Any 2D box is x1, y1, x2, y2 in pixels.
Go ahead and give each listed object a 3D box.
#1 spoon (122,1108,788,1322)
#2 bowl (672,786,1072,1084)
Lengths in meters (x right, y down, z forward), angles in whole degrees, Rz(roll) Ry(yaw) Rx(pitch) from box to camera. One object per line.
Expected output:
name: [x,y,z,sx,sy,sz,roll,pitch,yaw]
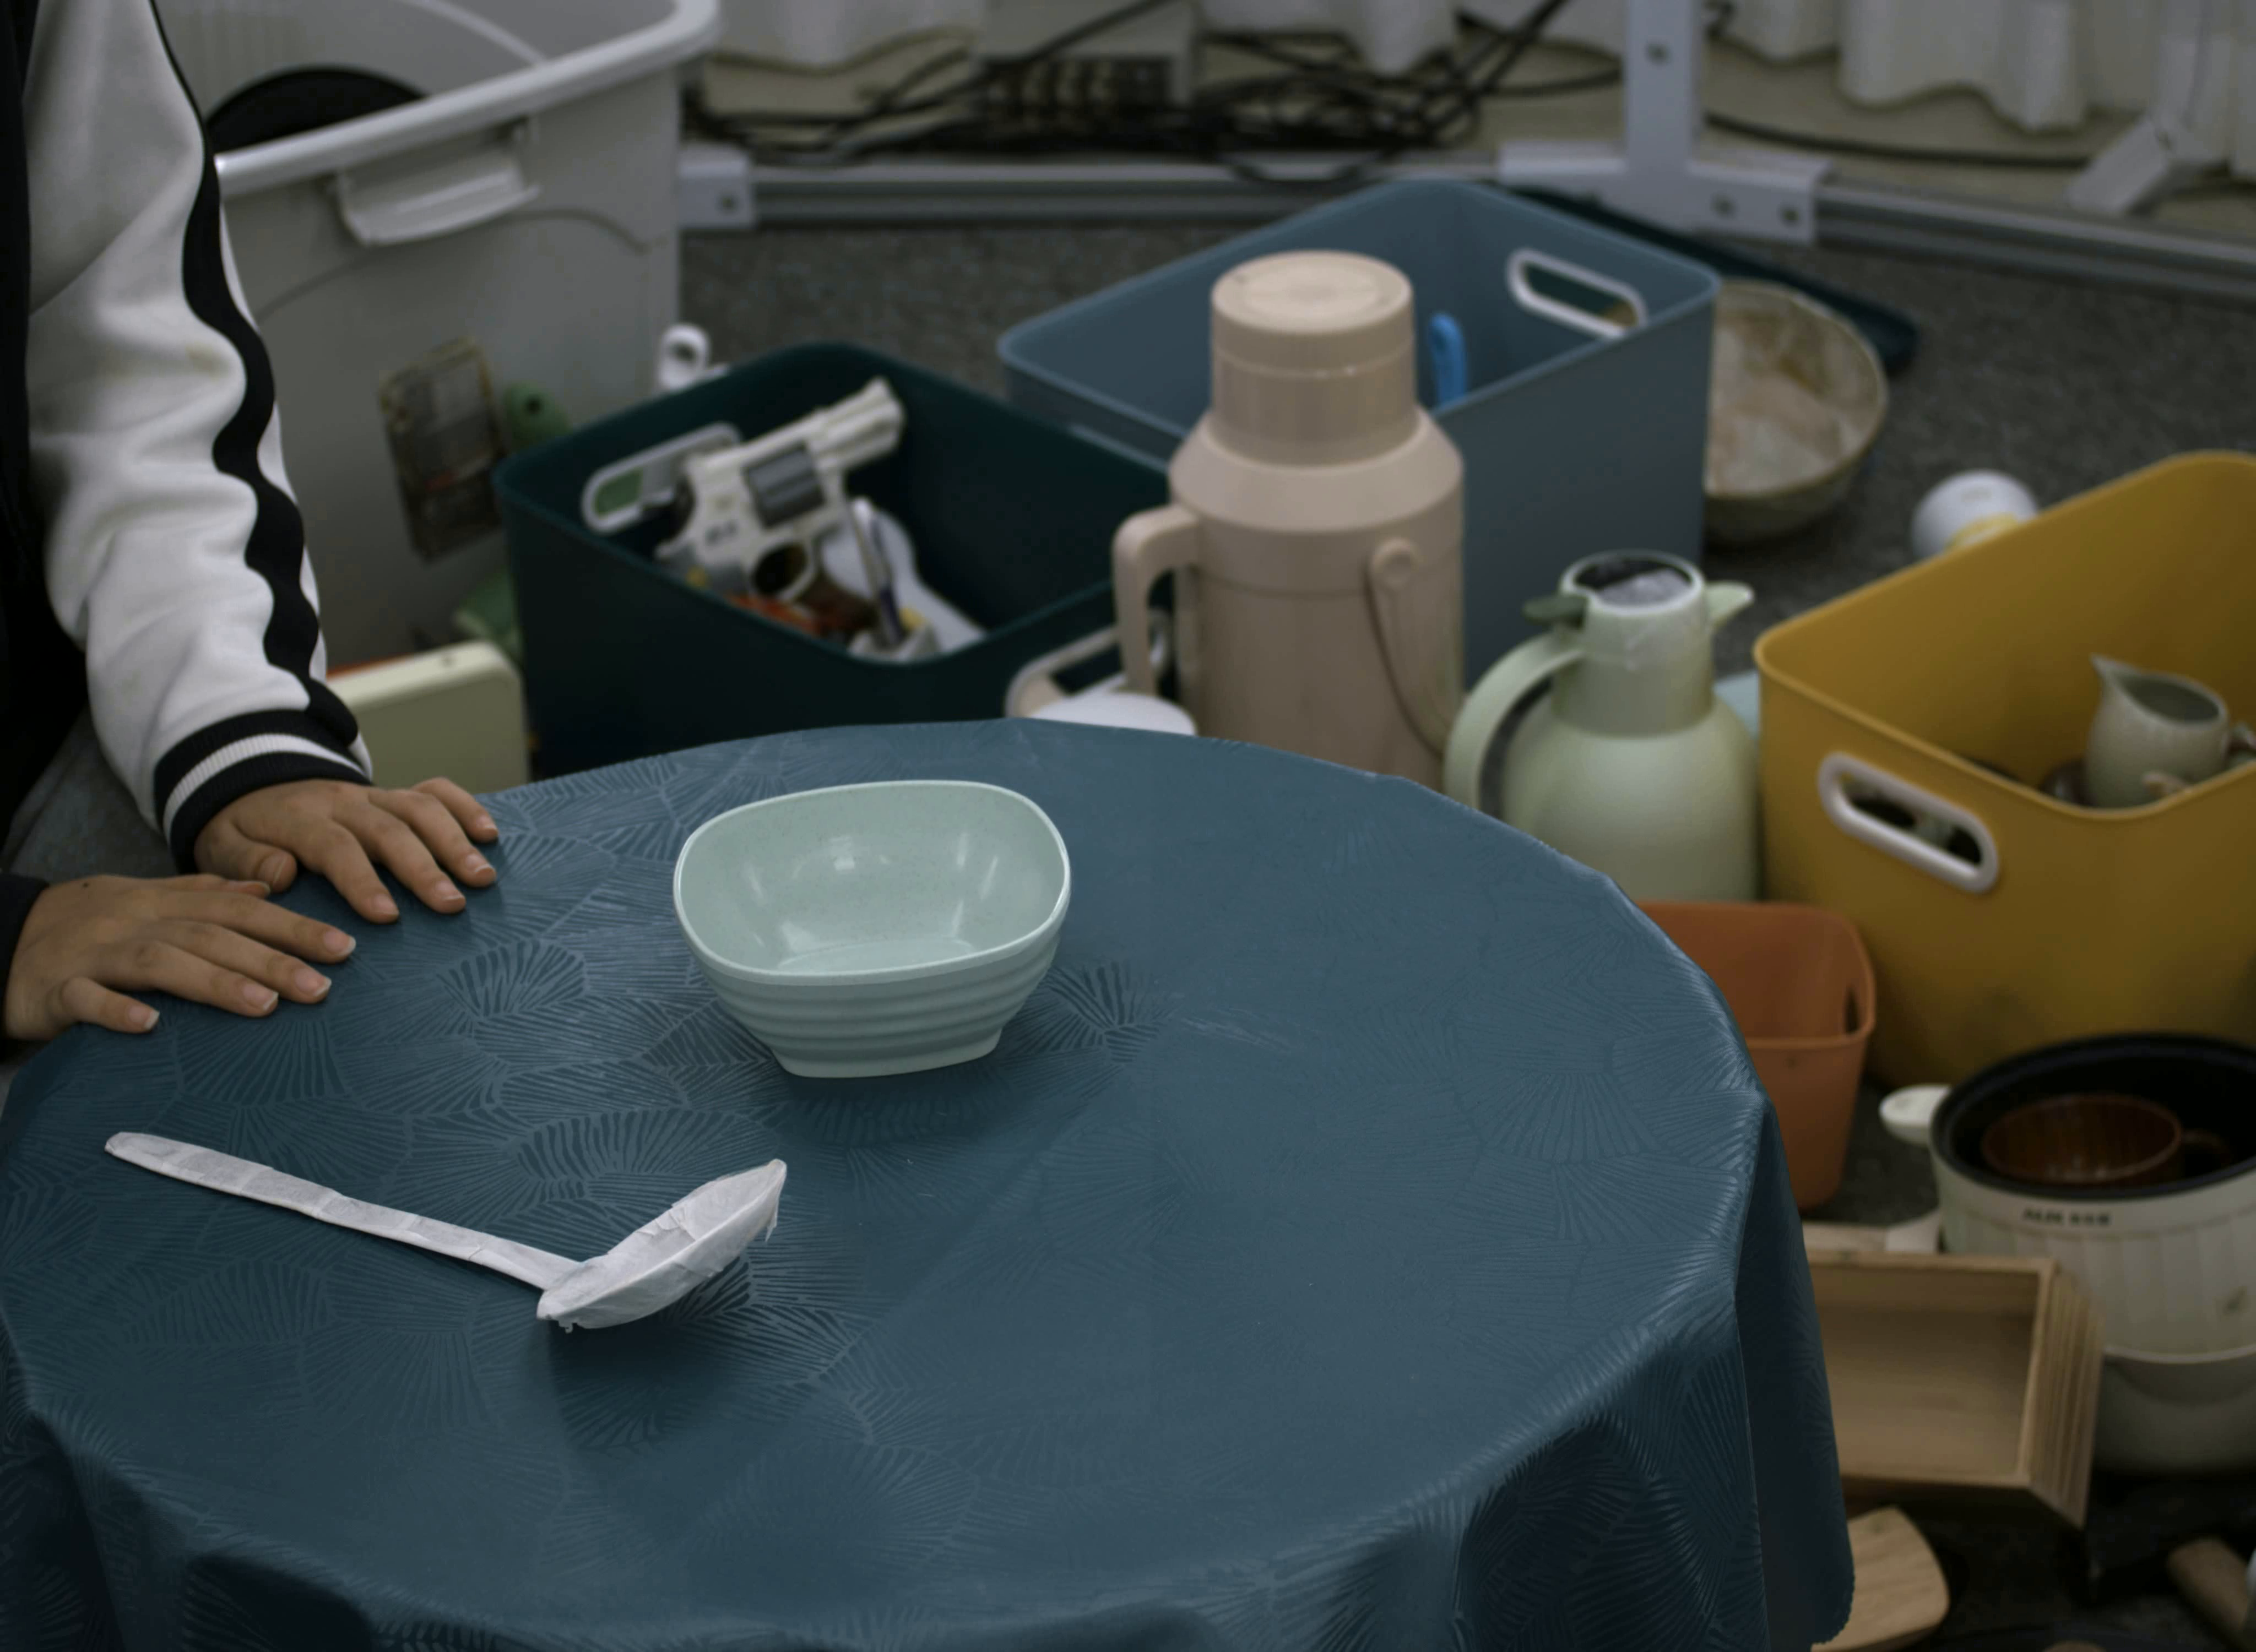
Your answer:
spoon: [-0.228,0.109,1.848,0.276,0.059,0.102,16,28,32]
bowl: [-0.088,0.044,1.963,0.151,0.058,0.154,-2,27,1]
